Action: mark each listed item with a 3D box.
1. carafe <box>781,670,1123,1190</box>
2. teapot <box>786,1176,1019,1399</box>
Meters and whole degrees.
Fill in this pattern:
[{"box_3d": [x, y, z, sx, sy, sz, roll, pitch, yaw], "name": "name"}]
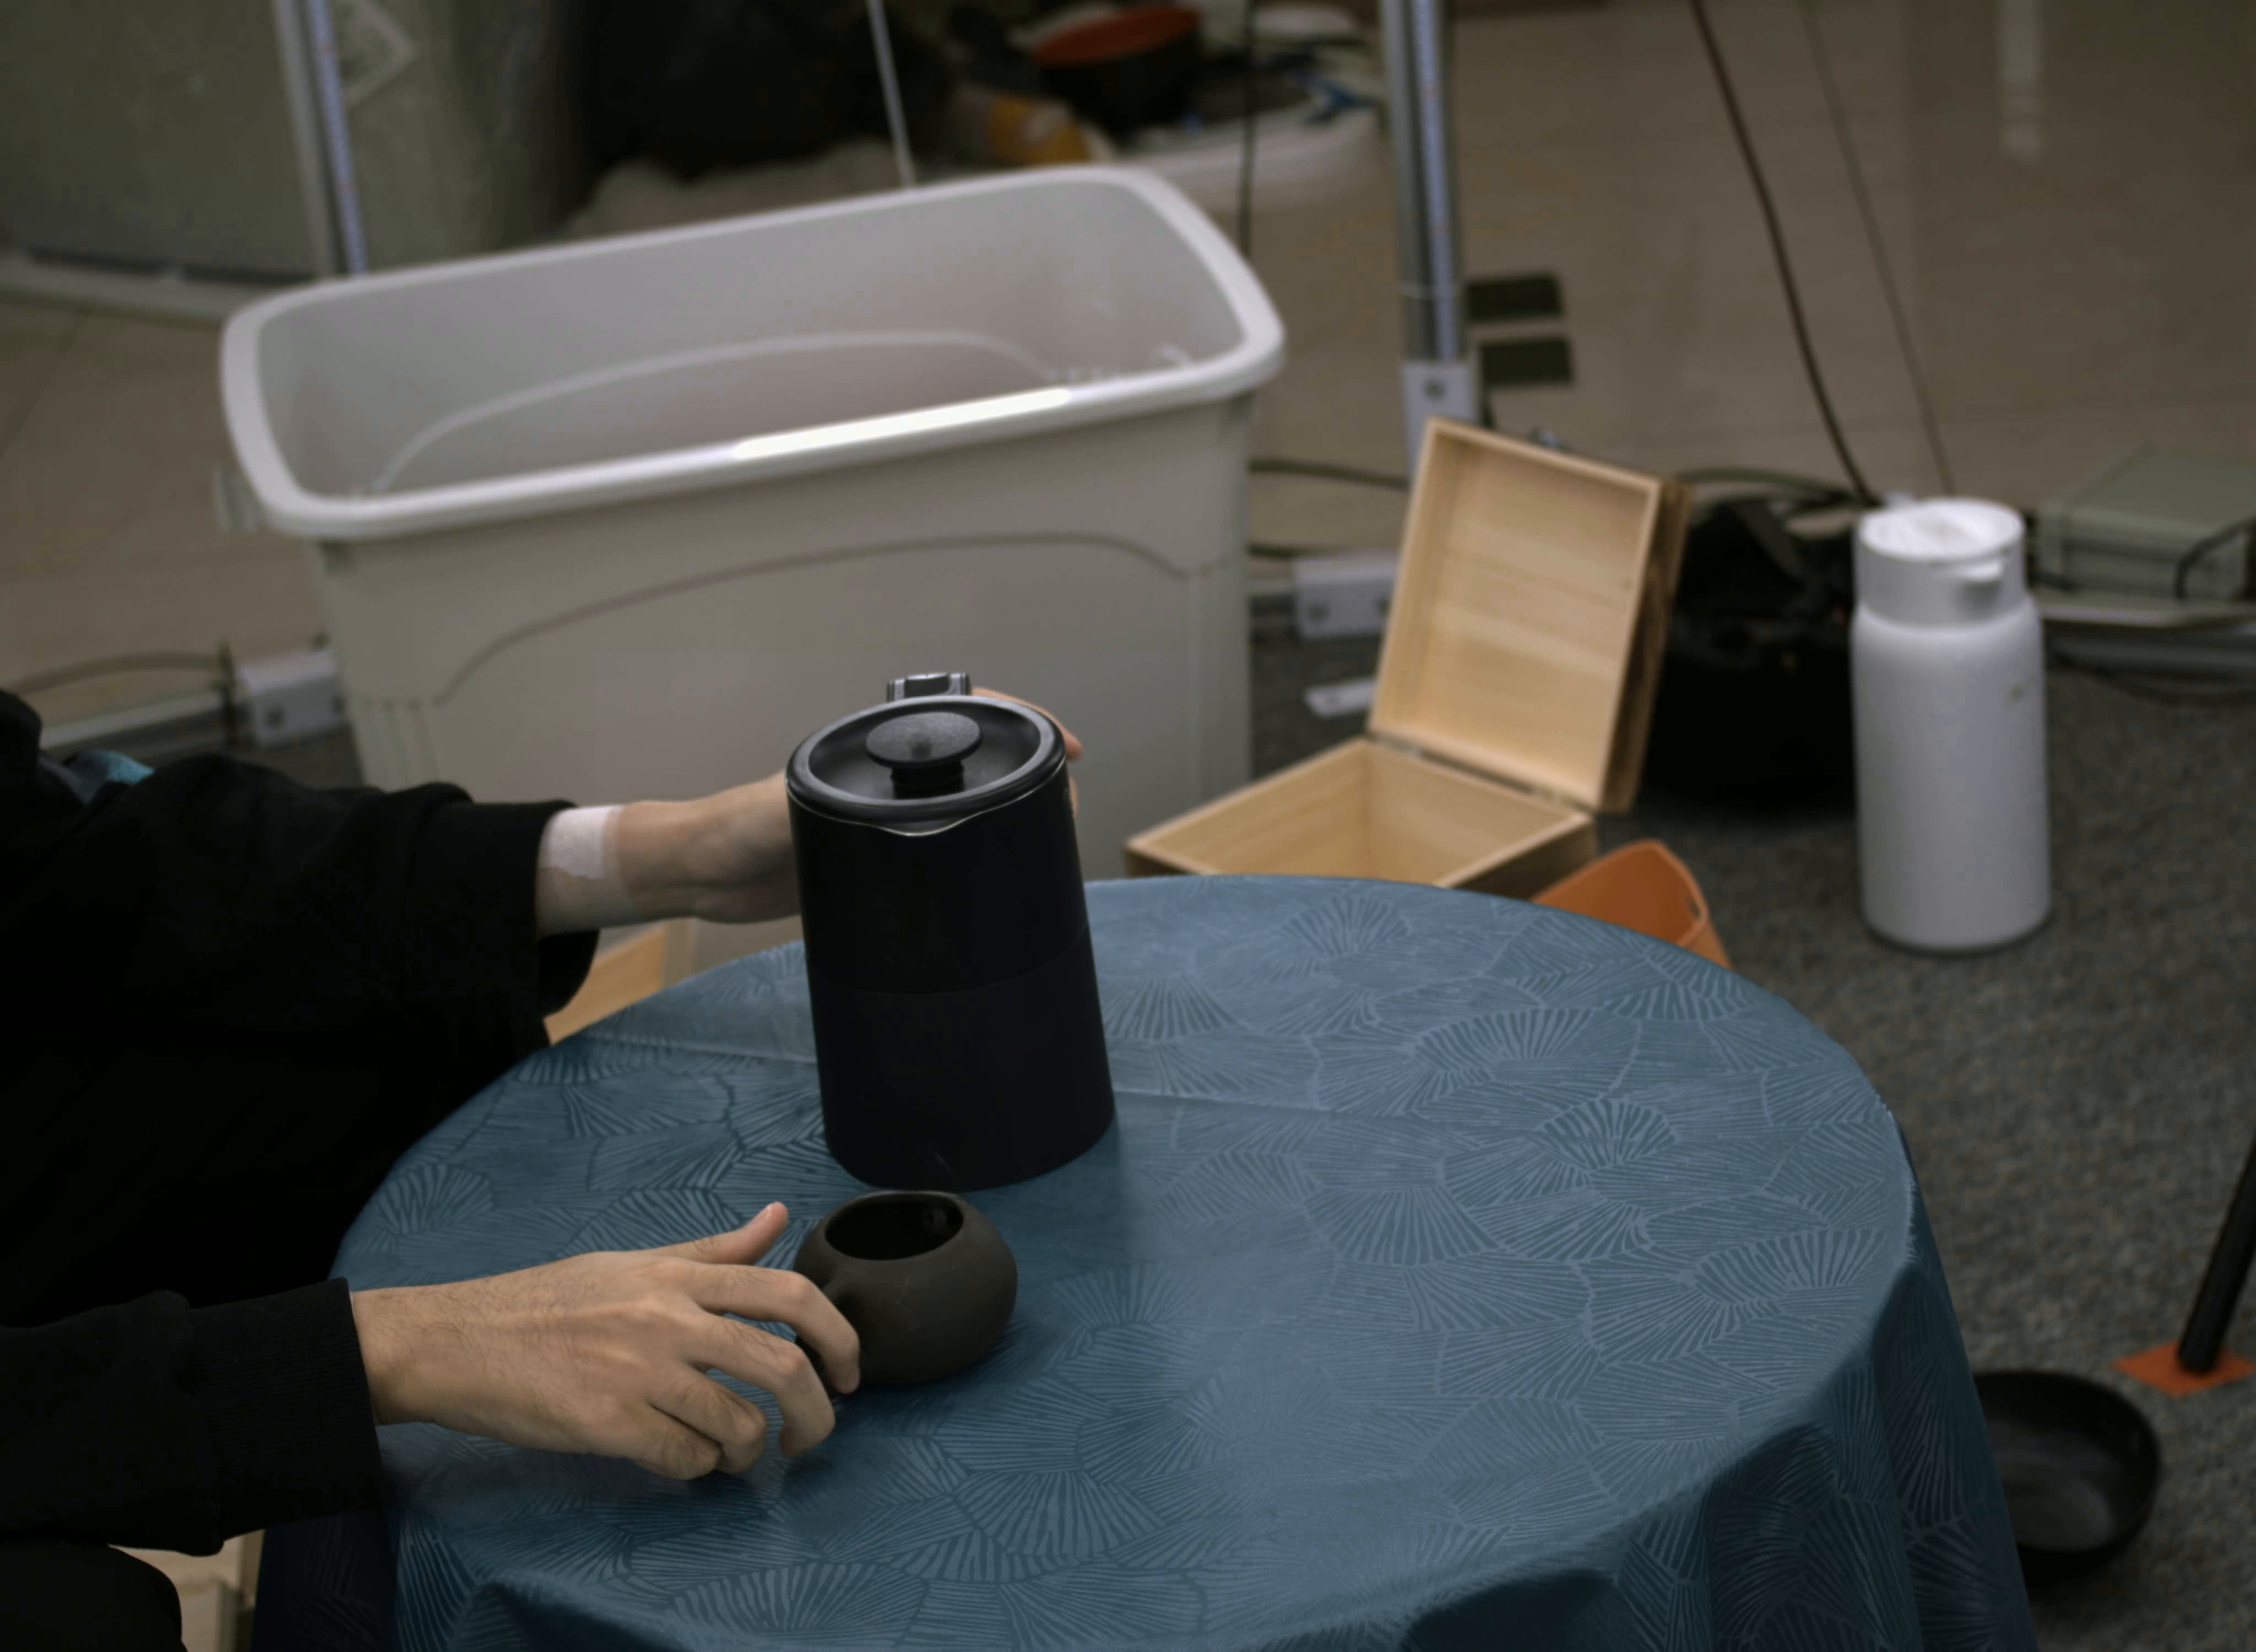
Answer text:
[{"box_3d": [-0.071, 0.030, 2.189, 0.114, 0.176, 0.169, -8, 28, 1], "name": "carafe"}, {"box_3d": [-0.088, 0.169, 2.041, 0.082, 0.054, 0.113, 10, 27, 33], "name": "teapot"}]
